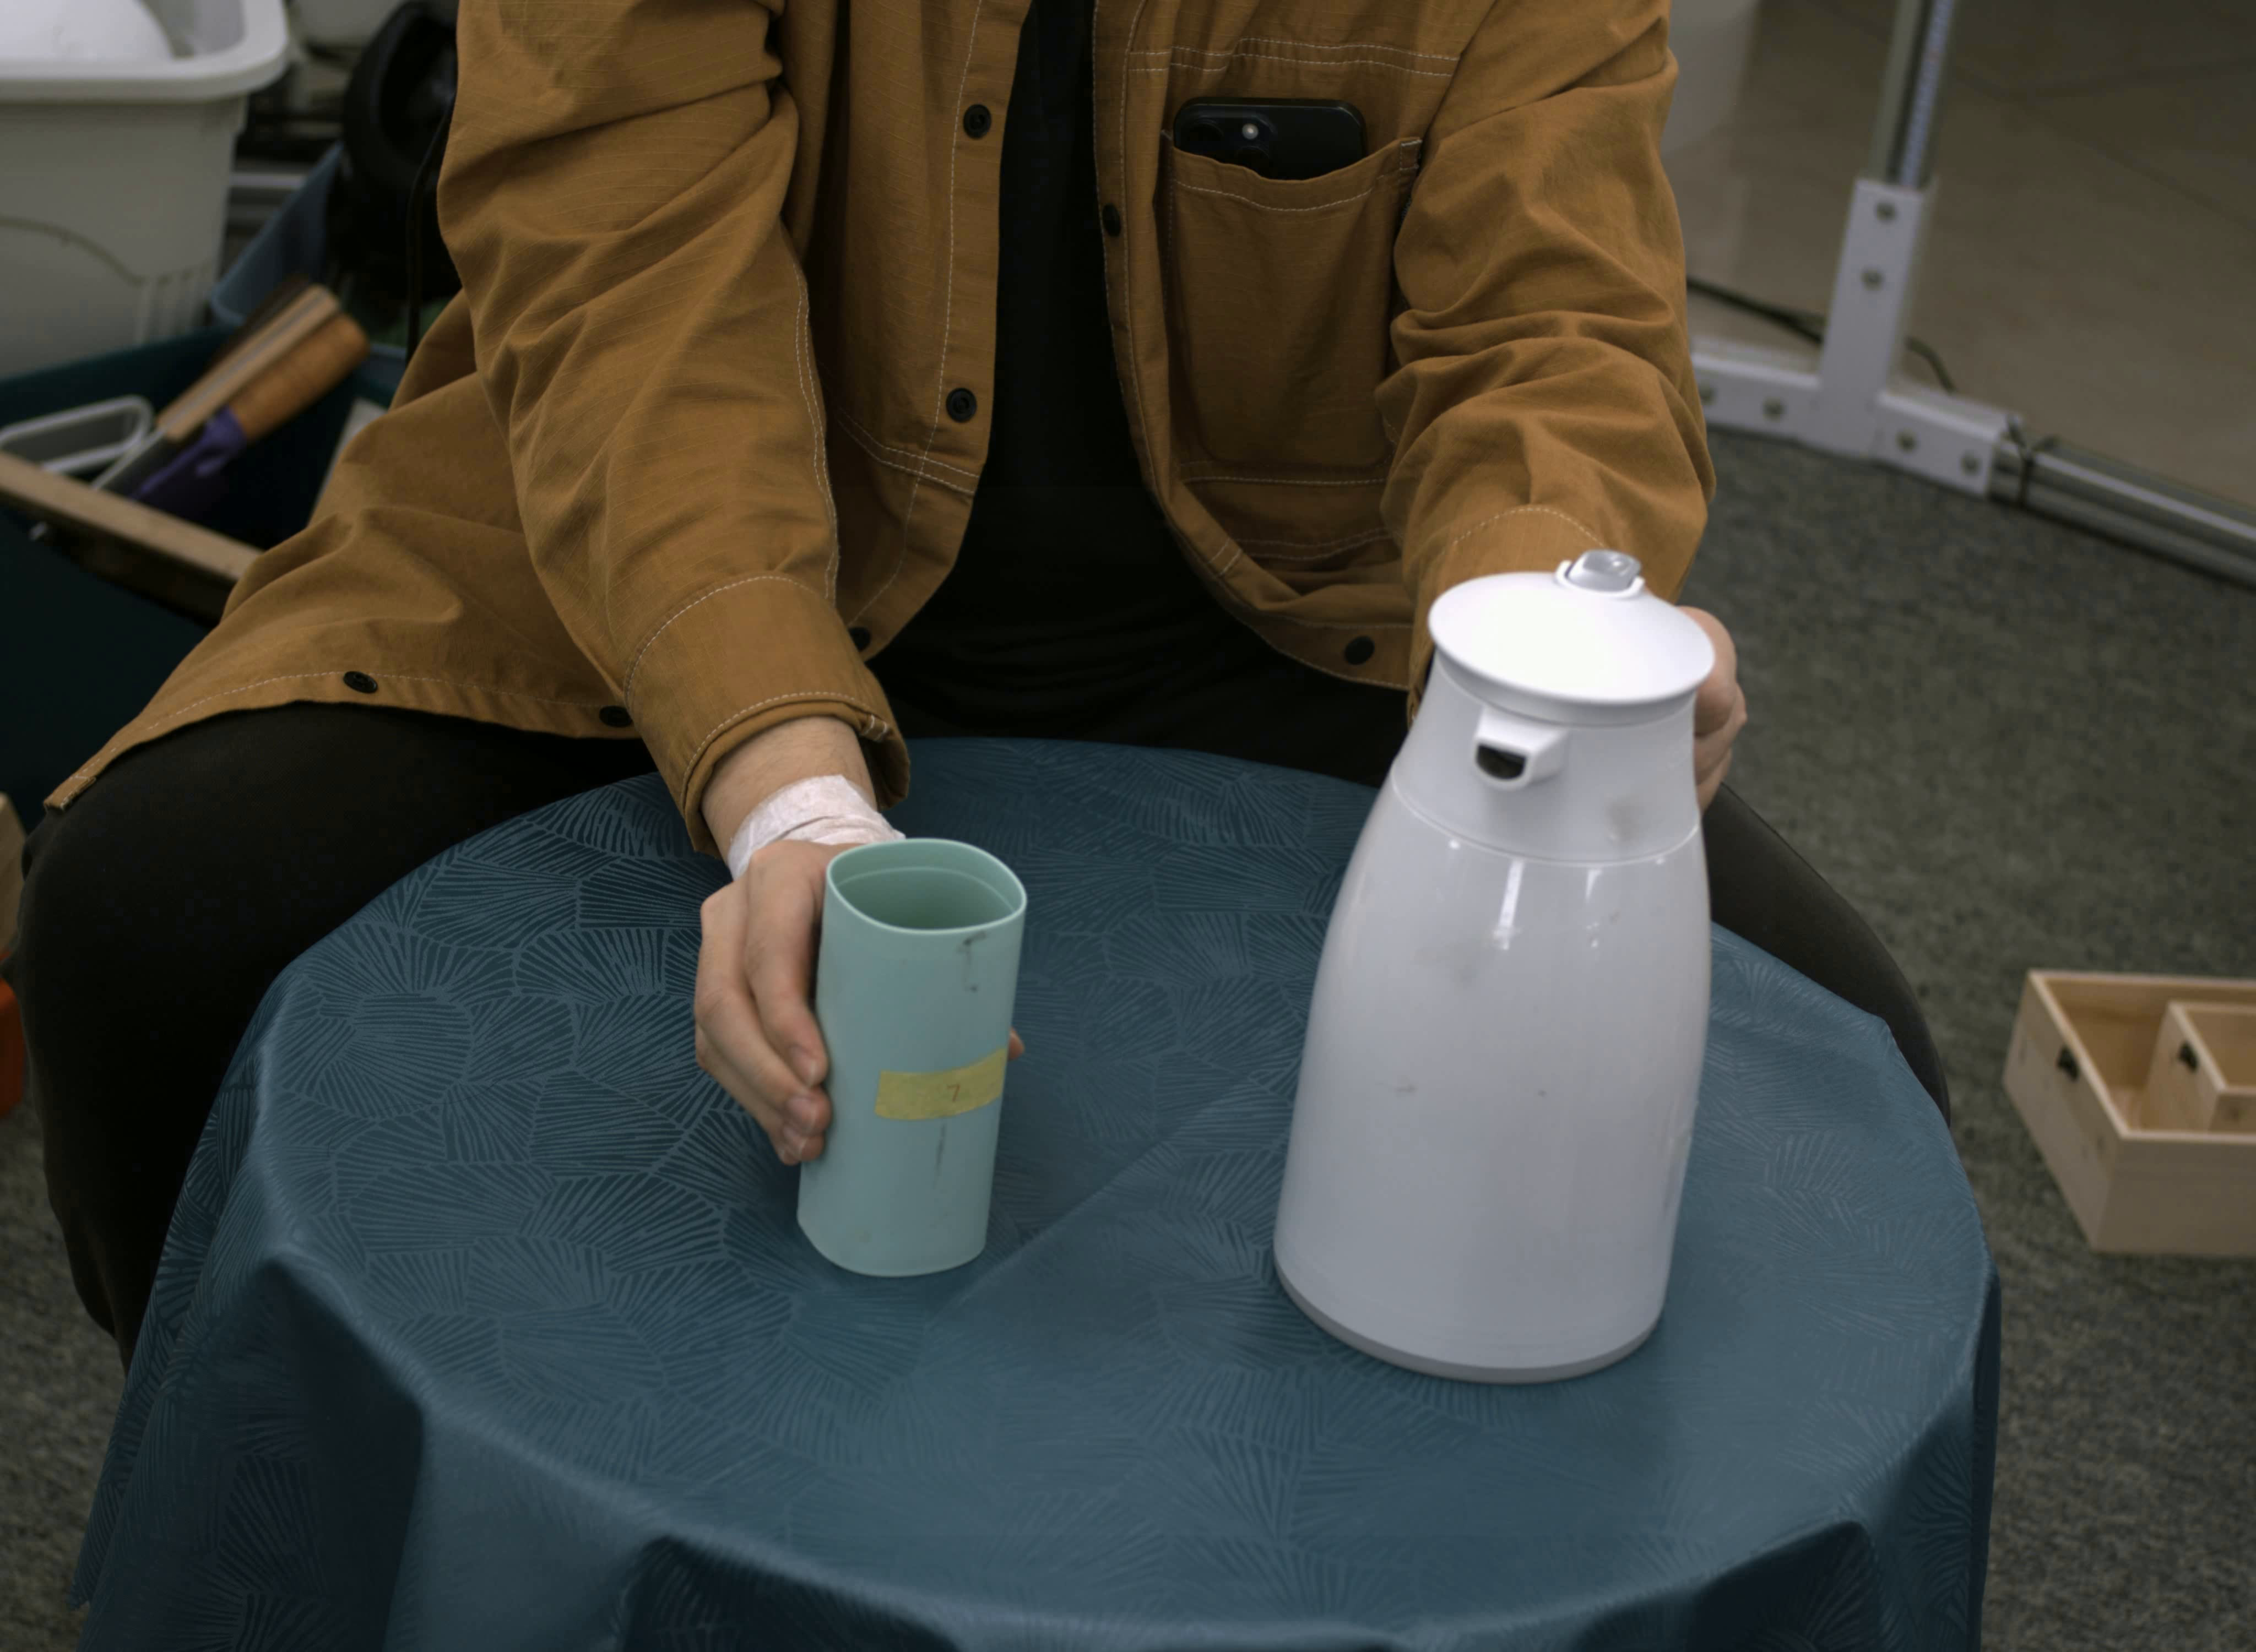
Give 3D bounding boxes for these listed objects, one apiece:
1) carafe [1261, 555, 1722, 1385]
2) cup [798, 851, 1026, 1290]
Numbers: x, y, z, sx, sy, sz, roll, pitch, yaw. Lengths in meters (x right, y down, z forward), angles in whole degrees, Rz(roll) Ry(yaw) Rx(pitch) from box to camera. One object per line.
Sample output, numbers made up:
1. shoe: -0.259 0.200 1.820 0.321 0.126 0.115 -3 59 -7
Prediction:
1. carafe: 0.132 0.035 1.740 0.133 0.248 0.168 17 27 17
2. cup: -0.072 0.079 1.741 0.066 0.132 0.067 6 26 -3
